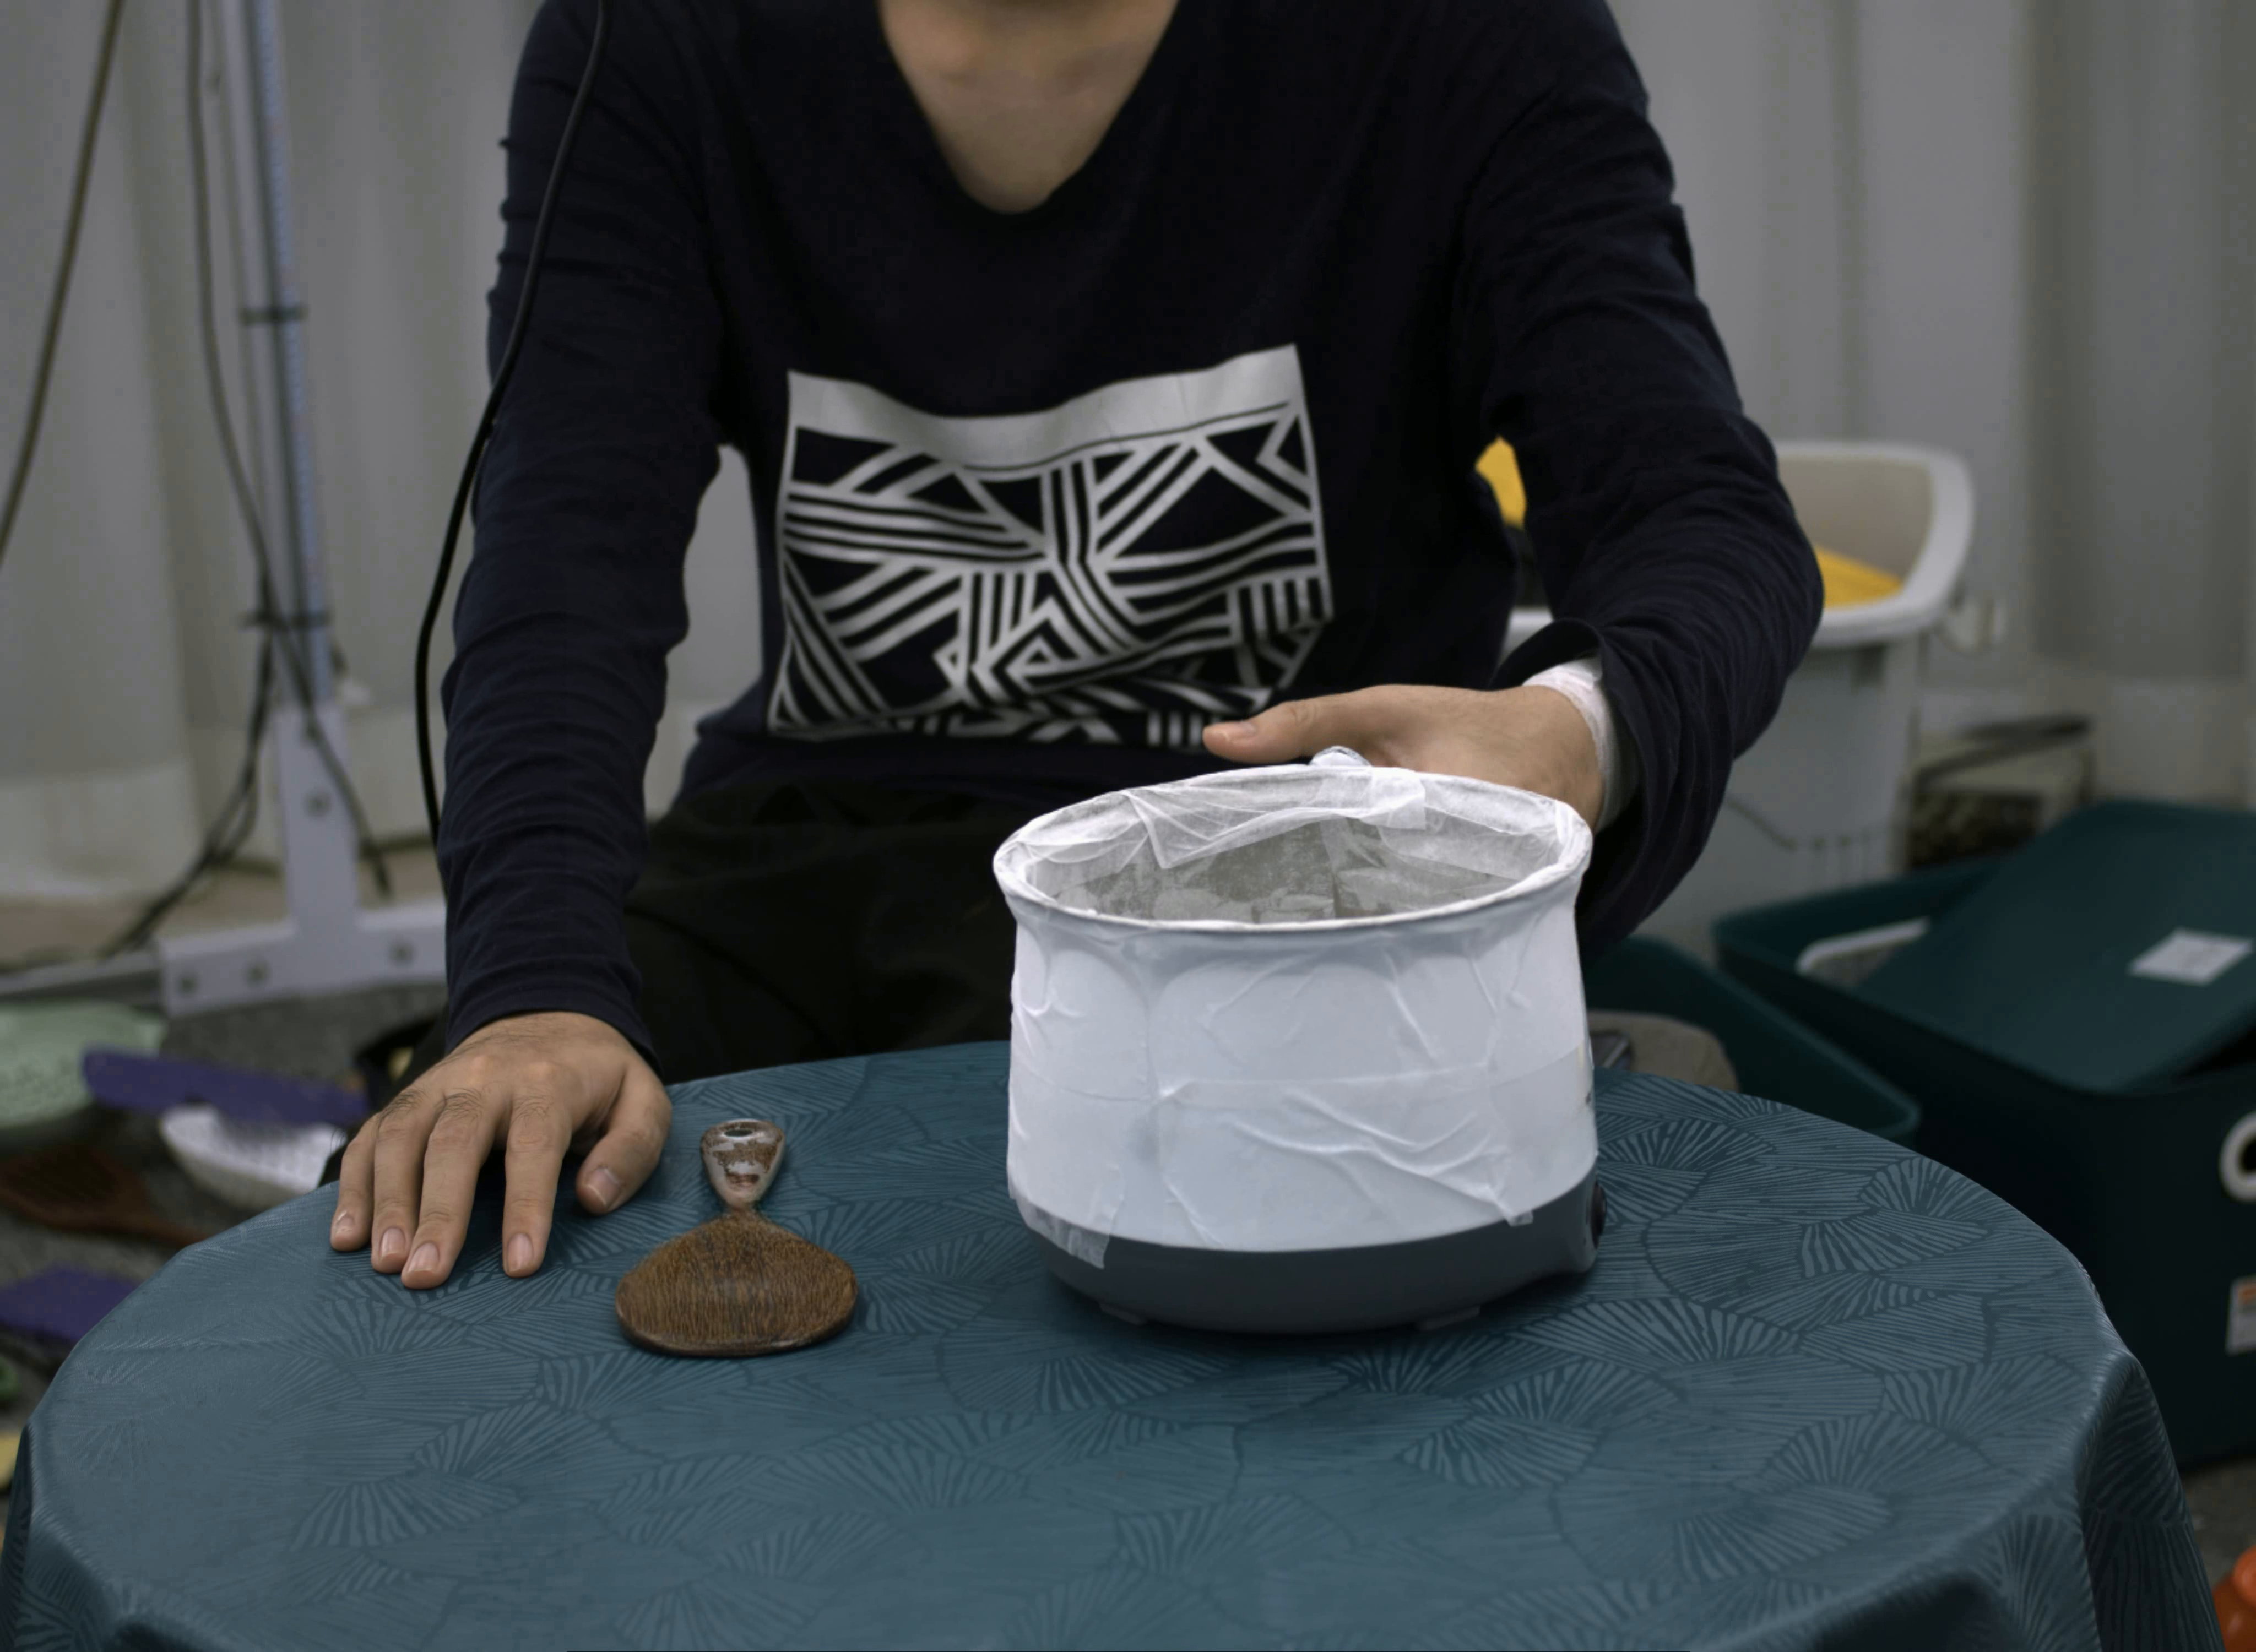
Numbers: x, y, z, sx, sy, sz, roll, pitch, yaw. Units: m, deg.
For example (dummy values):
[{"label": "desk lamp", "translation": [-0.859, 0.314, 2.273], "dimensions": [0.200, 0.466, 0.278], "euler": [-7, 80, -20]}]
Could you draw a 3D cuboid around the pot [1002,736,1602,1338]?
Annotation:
[{"label": "pot", "translation": [0.055, 0.058, 1.651], "dimensions": [0.178, 0.136, 0.235], "euler": [2, 16, 8]}]

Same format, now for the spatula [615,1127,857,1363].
[{"label": "spatula", "translation": [-0.119, 0.126, 1.689], "dimensions": [0.071, 0.009, 0.217], "euler": [-2, 14, -2]}]
